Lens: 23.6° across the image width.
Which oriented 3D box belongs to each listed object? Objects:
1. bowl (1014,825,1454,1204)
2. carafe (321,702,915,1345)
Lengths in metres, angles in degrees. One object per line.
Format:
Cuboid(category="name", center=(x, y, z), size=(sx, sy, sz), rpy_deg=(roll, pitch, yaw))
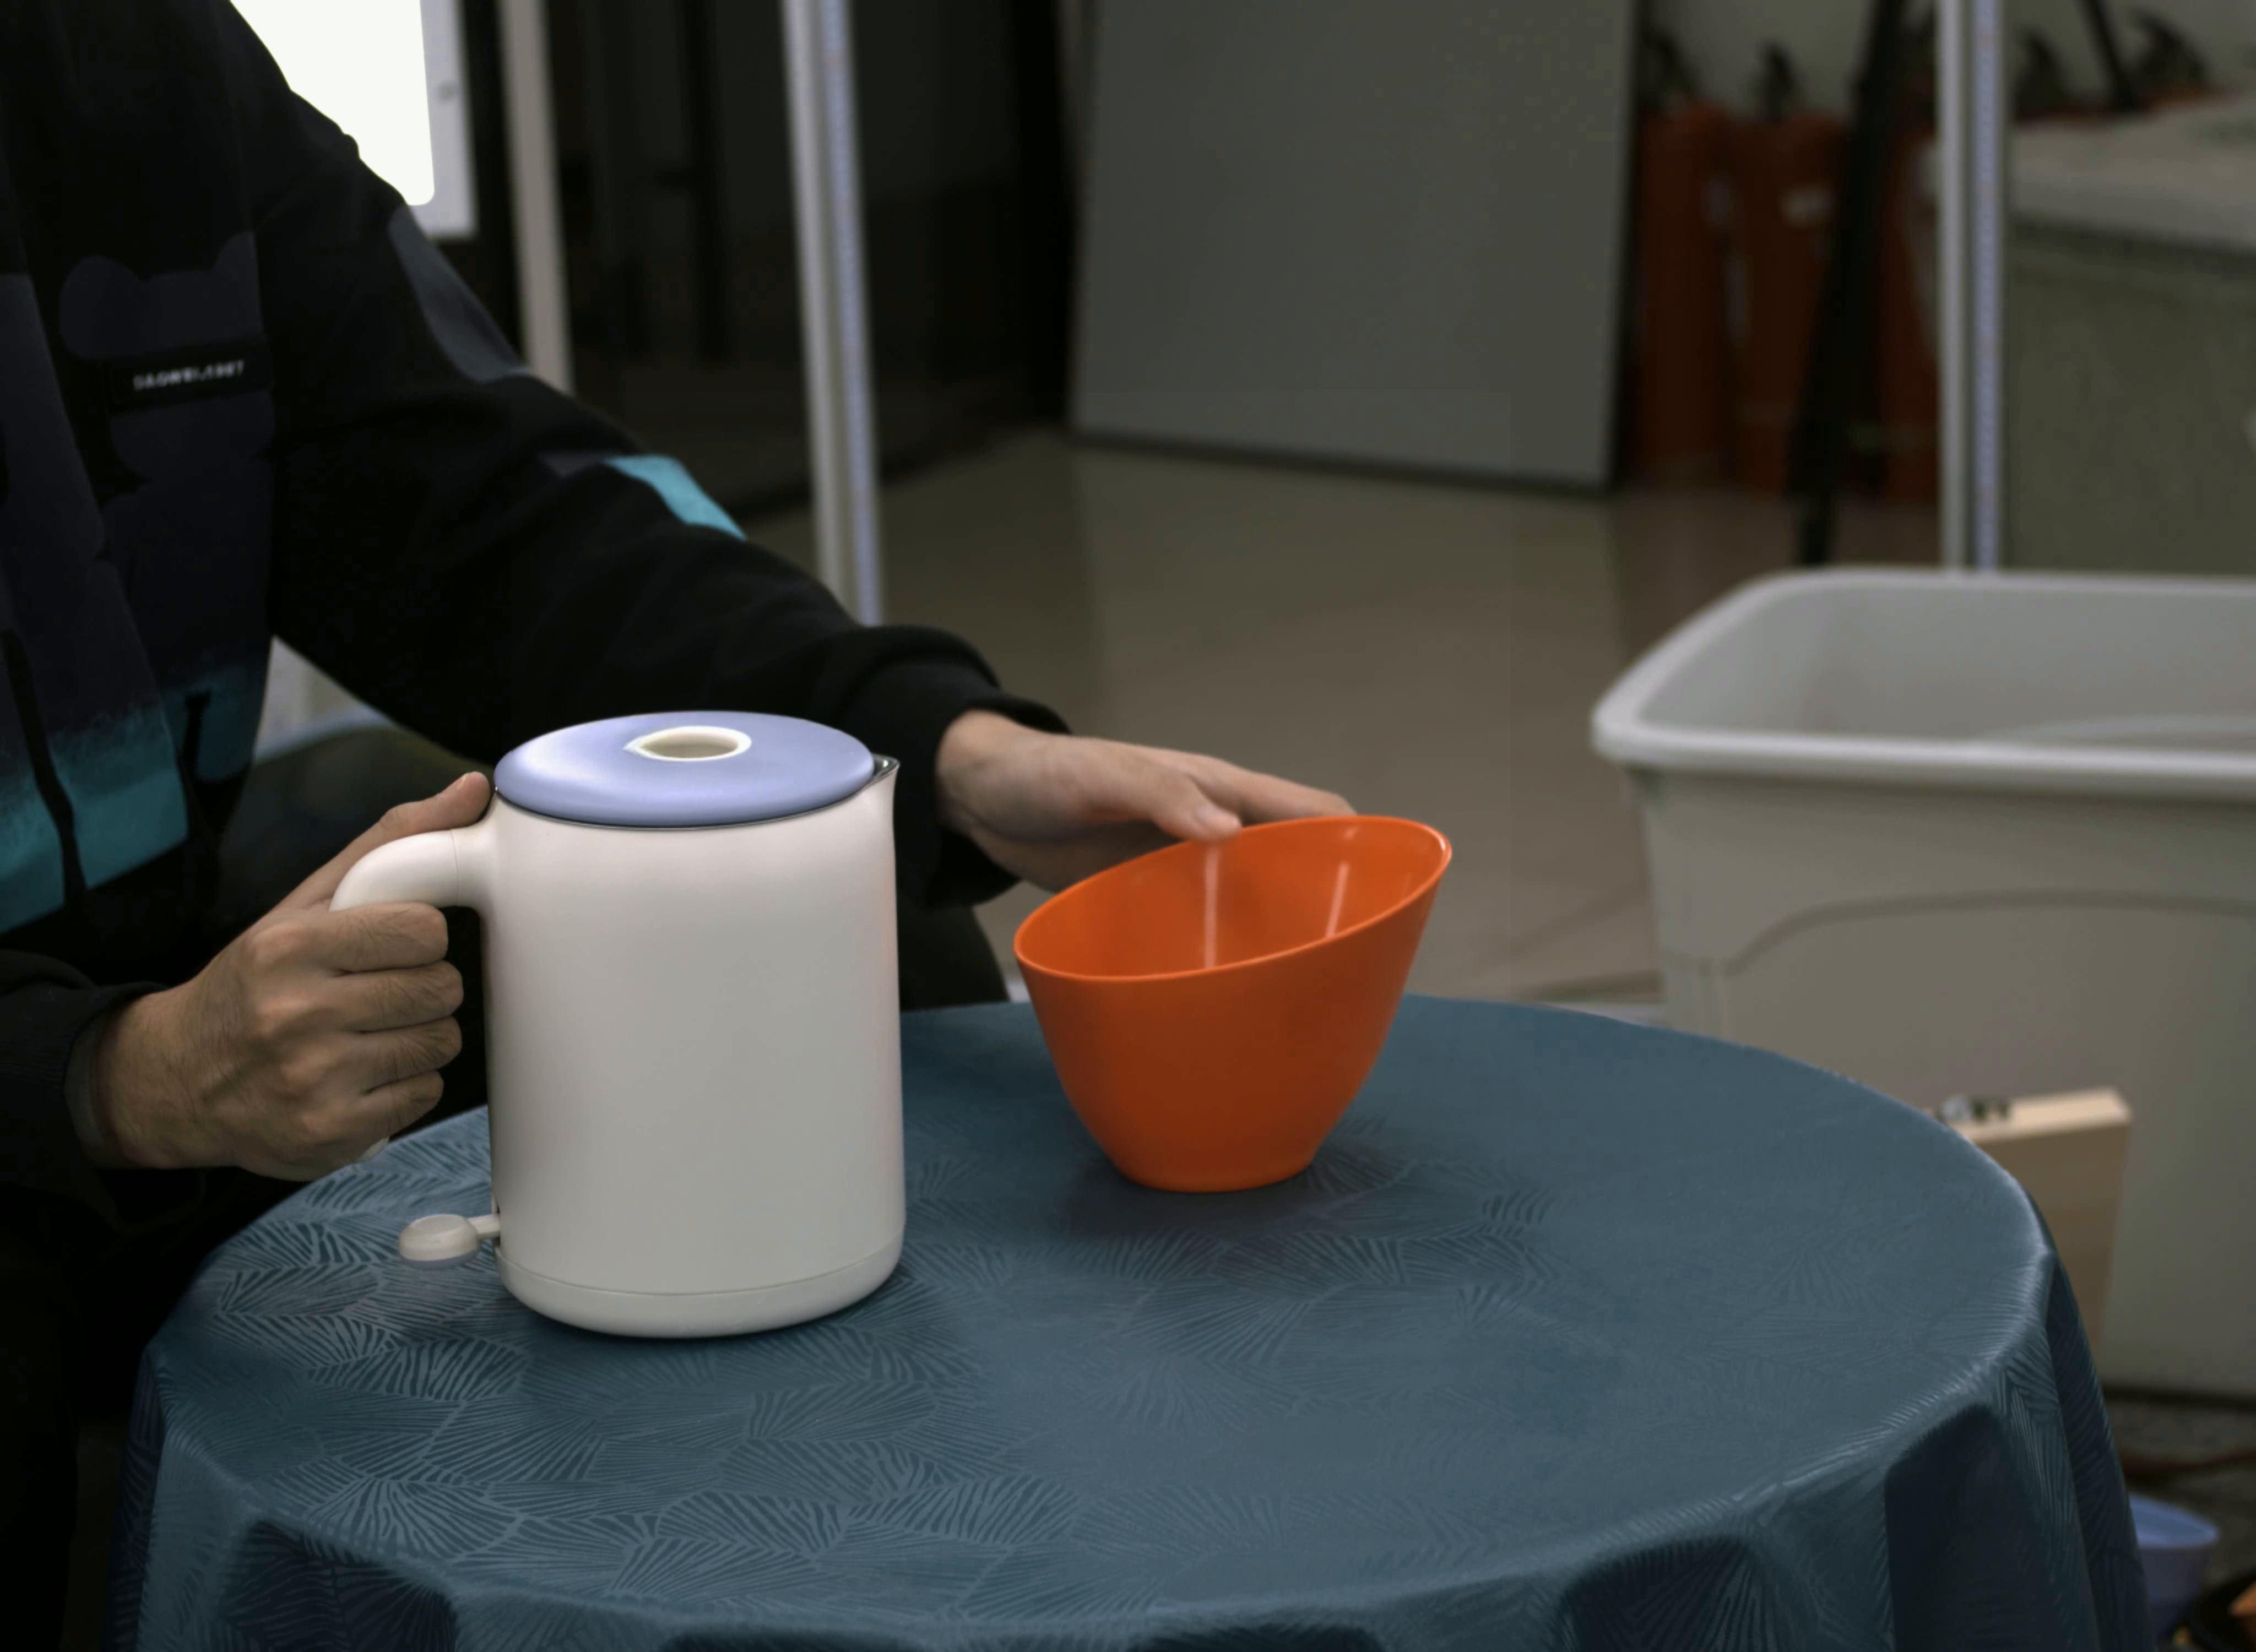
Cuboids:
Cuboid(category="bowl", center=(0.037, 0.064, 1.781), size=(0.146, 0.106, 0.148), rpy_deg=(-4, 14, 0))
Cuboid(category="carafe", center=(-0.158, 0.064, 1.682), size=(0.187, 0.184, 0.133), rpy_deg=(-8, 14, -14))
